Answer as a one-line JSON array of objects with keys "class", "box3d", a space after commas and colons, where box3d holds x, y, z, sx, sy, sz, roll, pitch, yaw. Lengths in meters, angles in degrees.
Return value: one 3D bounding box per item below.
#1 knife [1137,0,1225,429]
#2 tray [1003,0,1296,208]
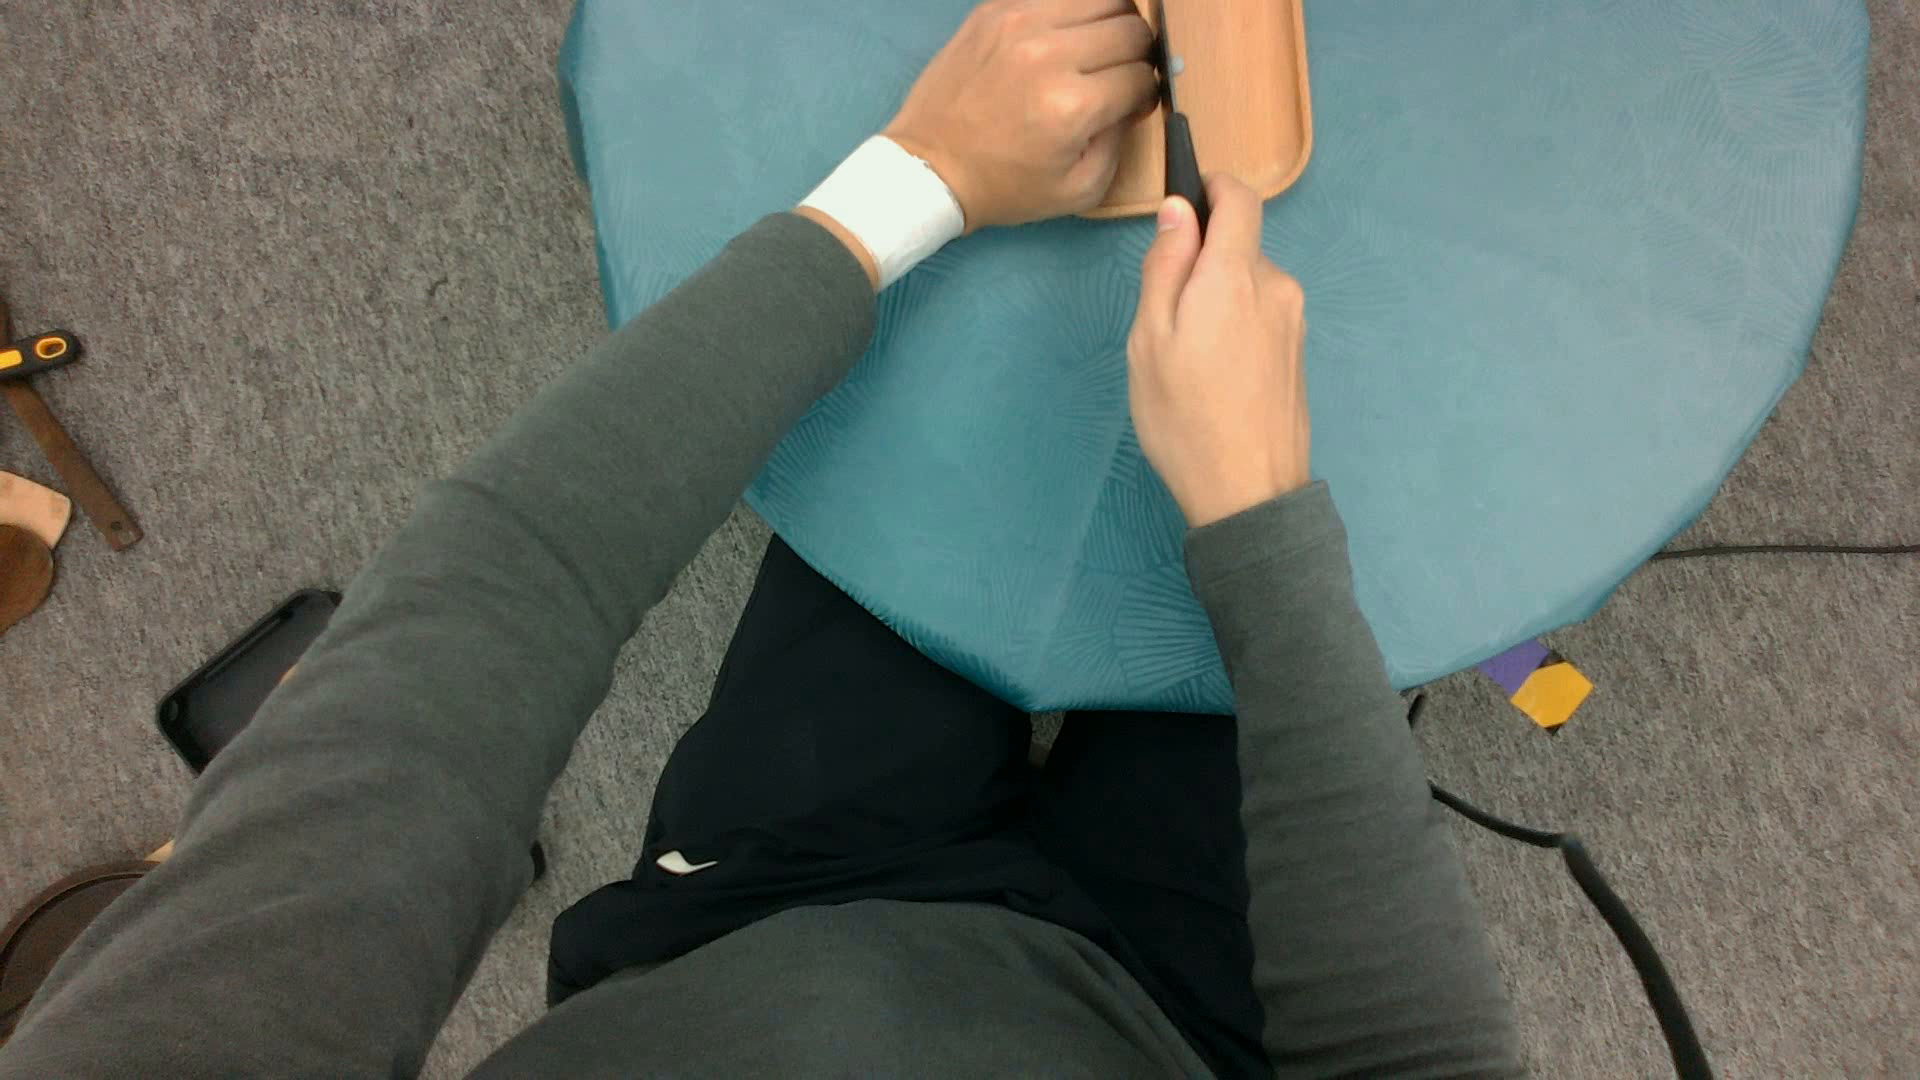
[{"class": "knife", "box3d": [0.081, -0.197, 0.578, 0.021, 0.081, 0.302, -8, 86, 6]}, {"class": "tray", "box3d": [0.082, -0.280, 0.635, 0.130, 0.023, 0.250, -5, 91, 2]}]
